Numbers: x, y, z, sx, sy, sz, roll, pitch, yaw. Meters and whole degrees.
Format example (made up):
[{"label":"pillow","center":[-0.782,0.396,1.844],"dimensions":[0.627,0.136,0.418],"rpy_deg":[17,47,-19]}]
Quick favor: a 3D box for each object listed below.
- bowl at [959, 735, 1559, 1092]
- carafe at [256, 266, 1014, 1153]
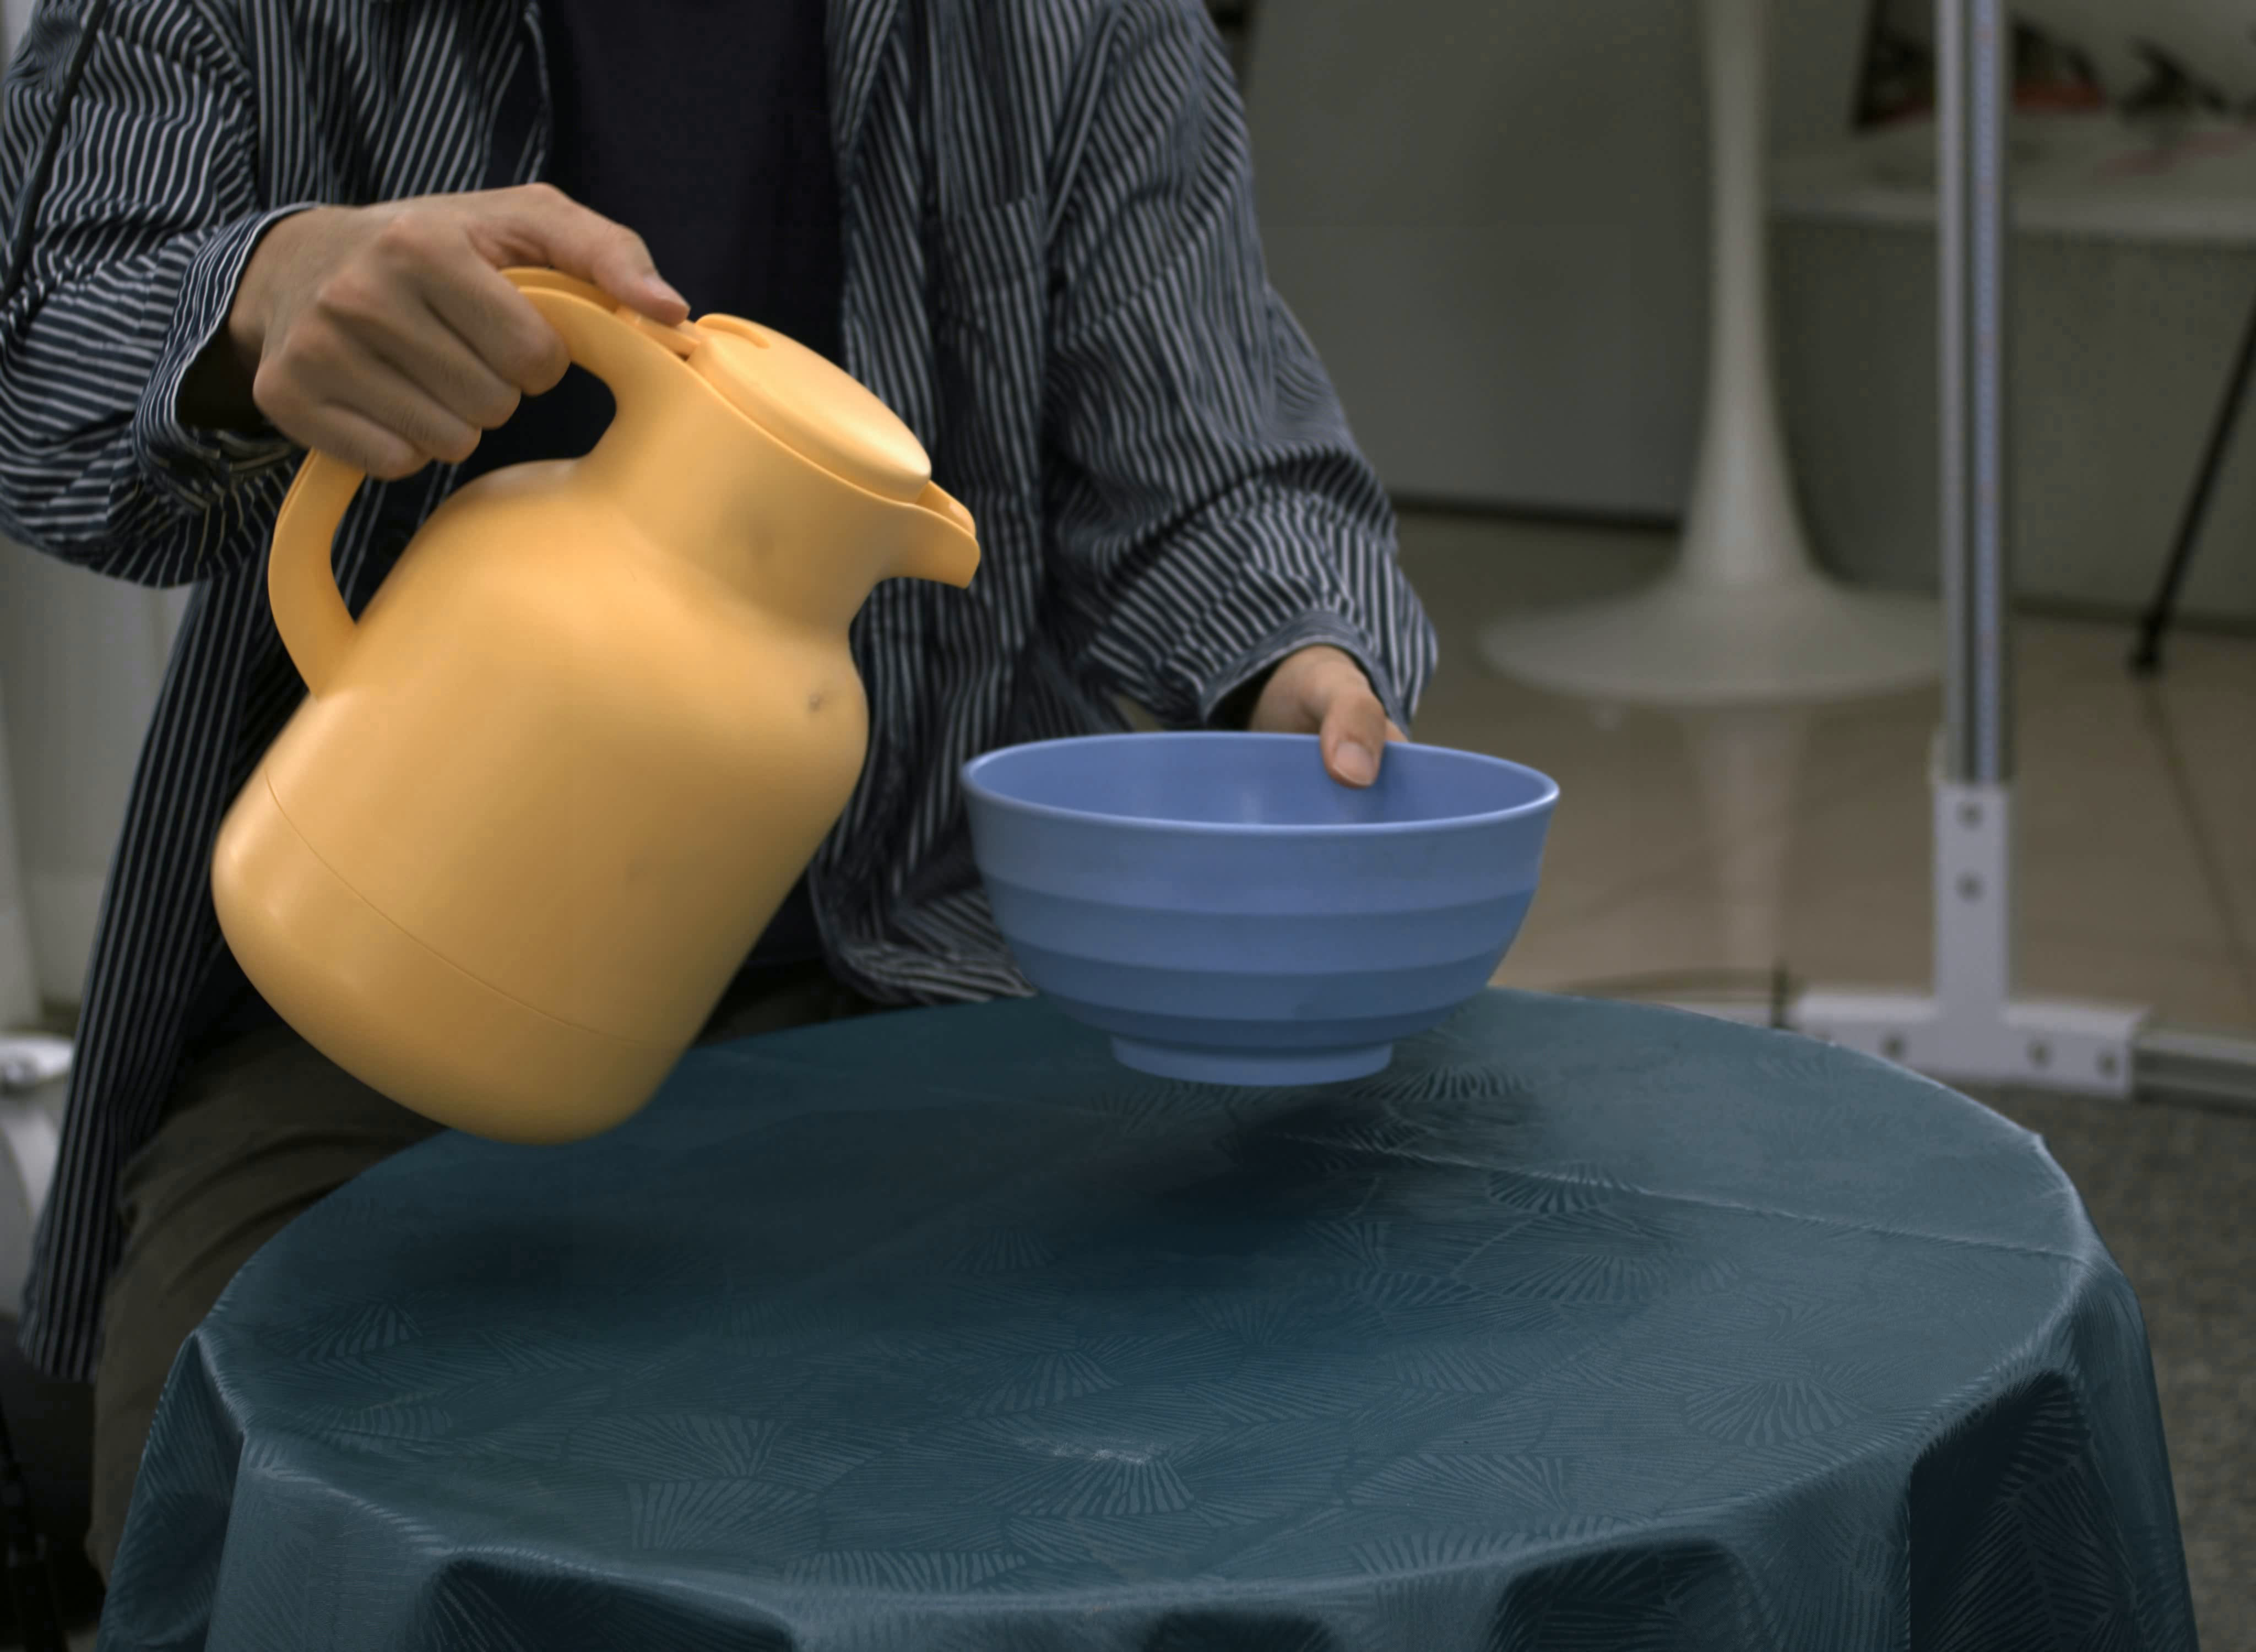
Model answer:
[{"label":"bowl","center":[0.042,0.030,1.749],"dimensions":[0.194,0.096,0.196],"rpy_deg":[0,9,-1]},{"label":"carafe","center":[-0.169,-0.046,1.708],"dimensions":[0.200,0.262,0.164],"rpy_deg":[30,15,-14]}]
